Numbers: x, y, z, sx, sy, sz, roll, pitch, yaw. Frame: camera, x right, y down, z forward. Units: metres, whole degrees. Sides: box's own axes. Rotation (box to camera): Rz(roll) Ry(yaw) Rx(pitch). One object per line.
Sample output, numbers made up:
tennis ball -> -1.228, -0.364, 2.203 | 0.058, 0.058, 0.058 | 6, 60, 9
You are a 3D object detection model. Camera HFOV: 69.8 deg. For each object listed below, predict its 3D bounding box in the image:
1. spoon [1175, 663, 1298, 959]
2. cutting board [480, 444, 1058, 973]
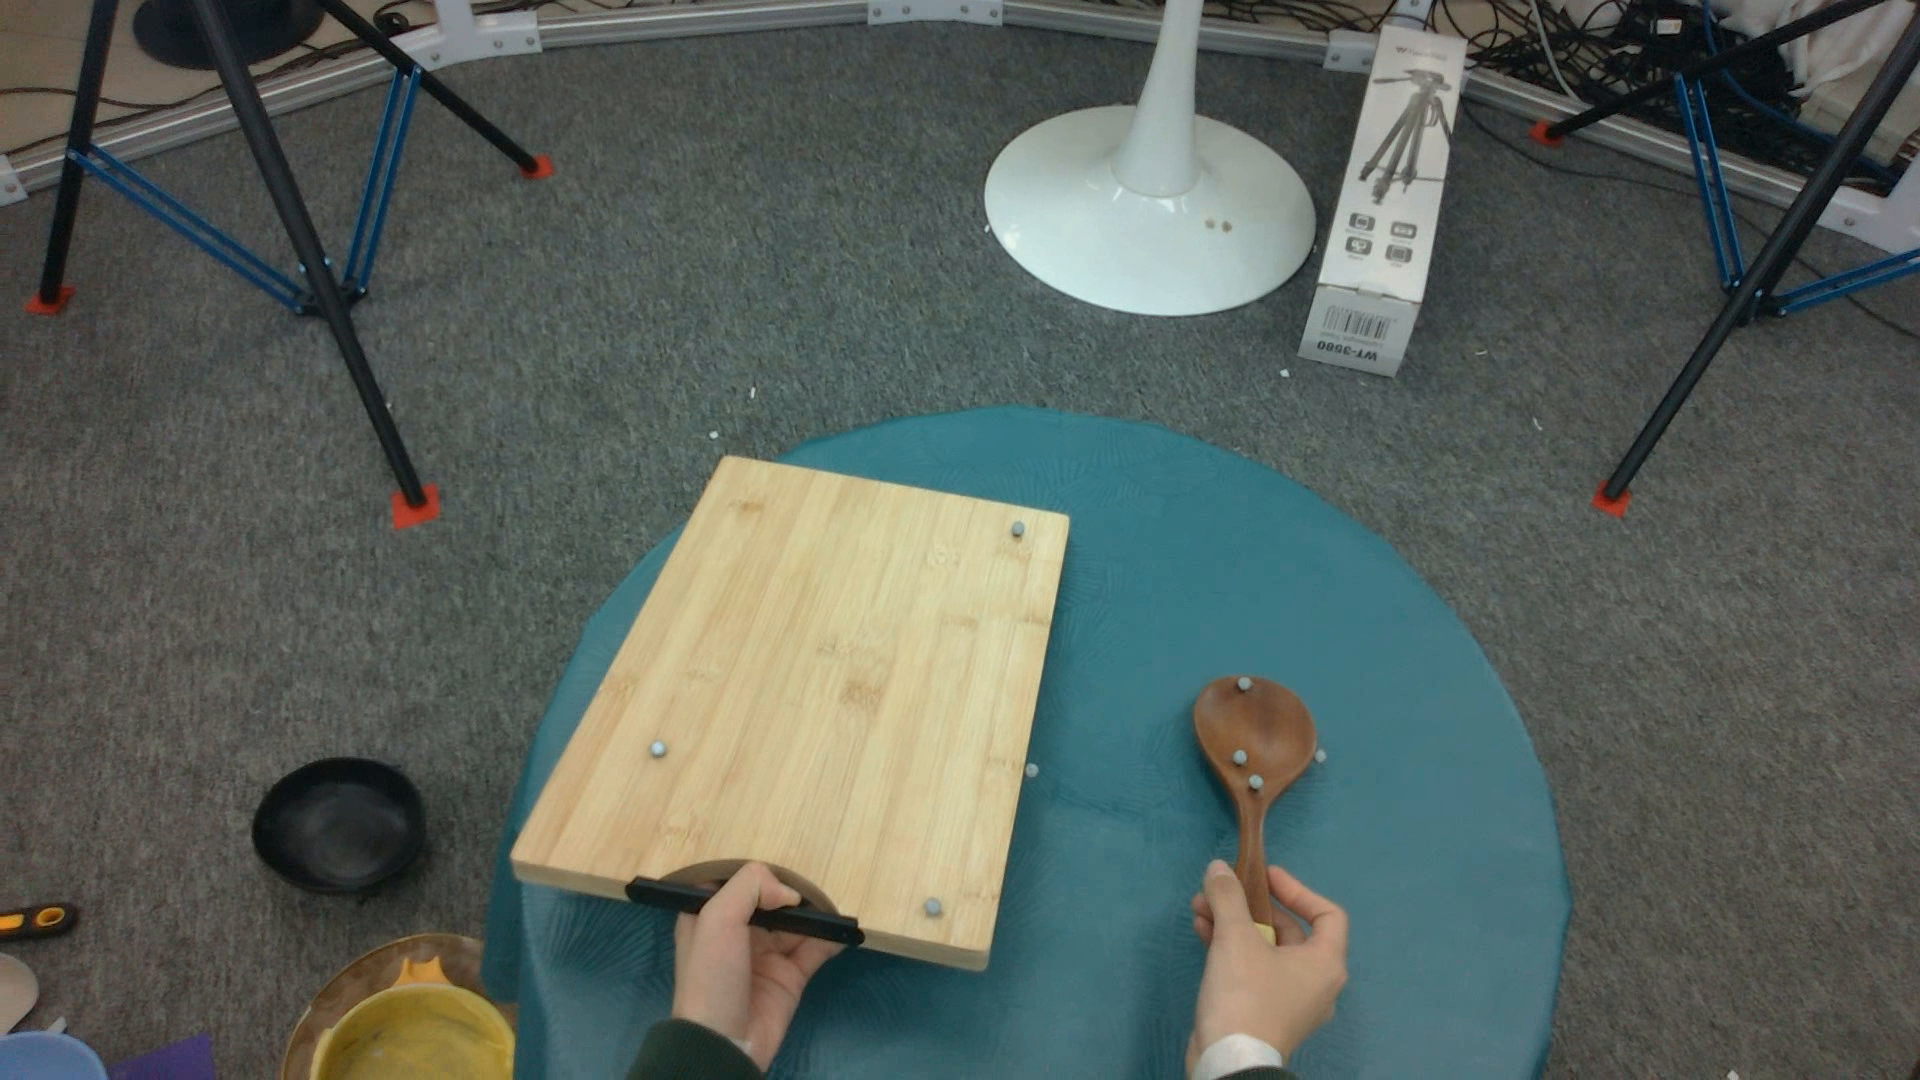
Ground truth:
spoon -> 0.153, 0.144, 0.769 | 0.075, 0.017, 0.217 | 14, 36, 2
cutting board -> -0.085, 0.073, 0.794 | 0.250, 0.023, 0.350 | 9, 41, 4
